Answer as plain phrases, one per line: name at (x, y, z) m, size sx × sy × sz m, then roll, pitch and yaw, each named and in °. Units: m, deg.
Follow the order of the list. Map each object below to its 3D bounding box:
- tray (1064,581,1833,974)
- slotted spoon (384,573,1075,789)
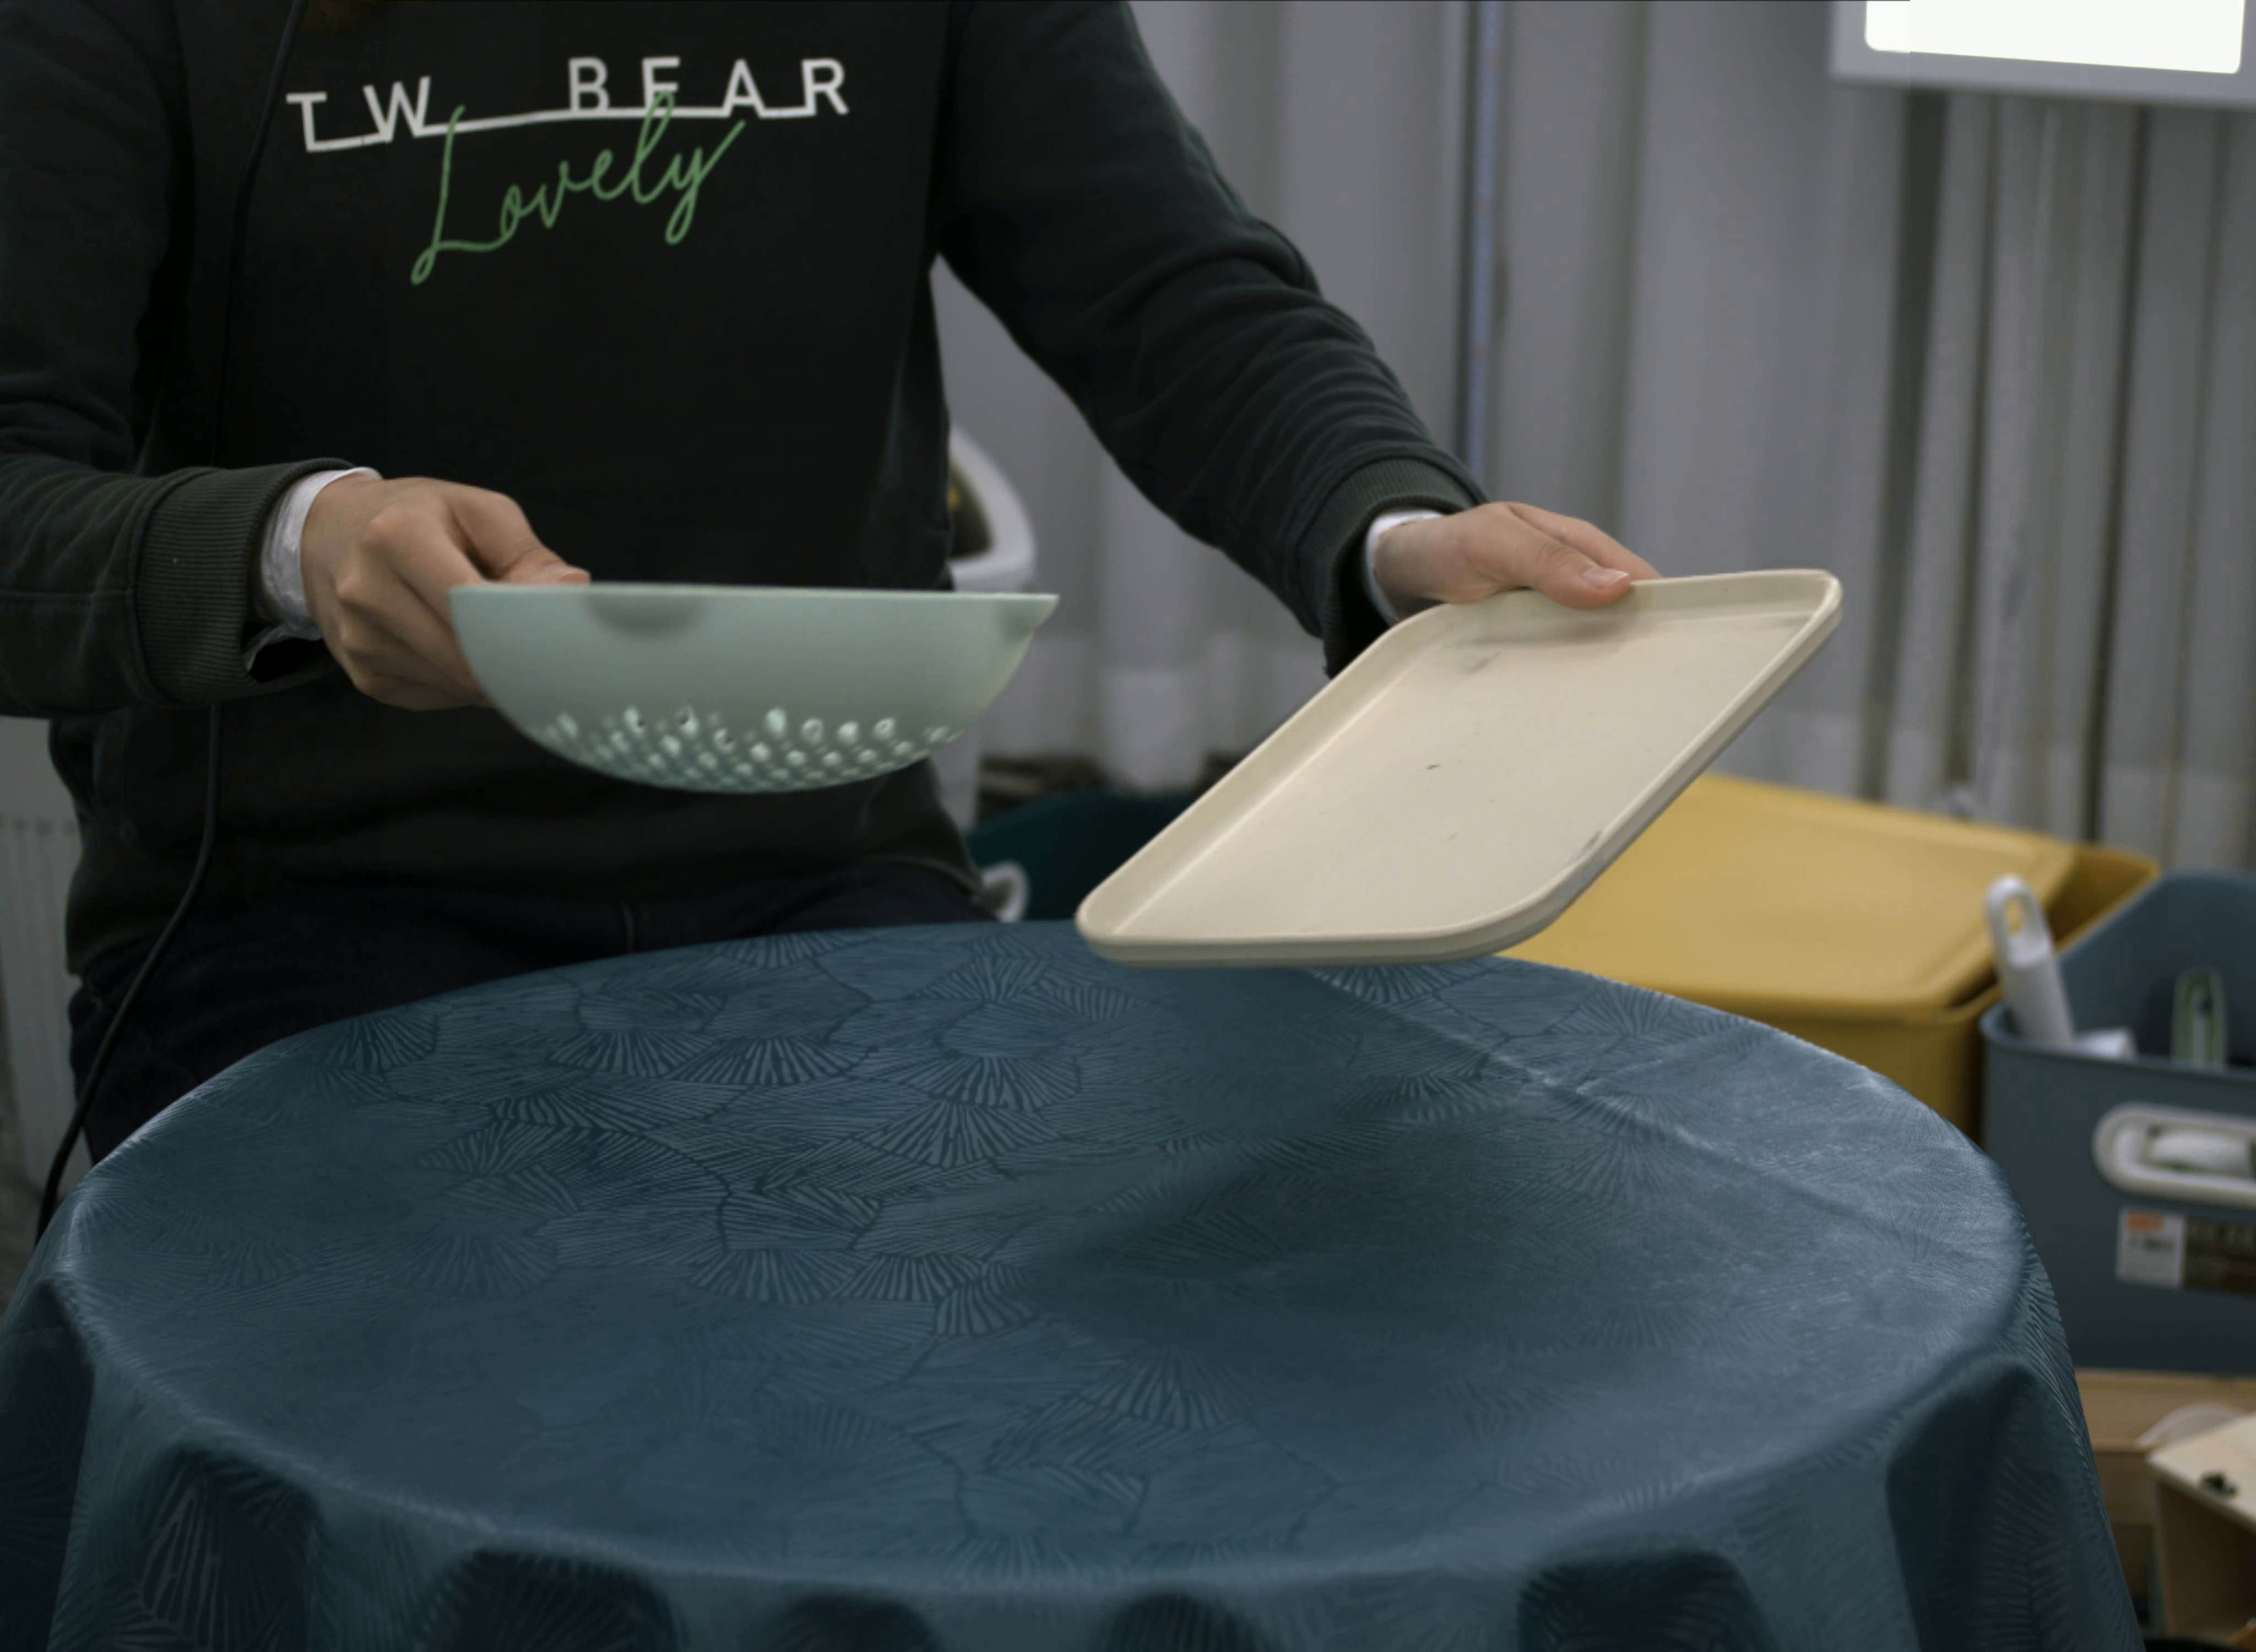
tray at (0.101, -0.014, 1.599) m, size 0.169 × 0.017 × 0.239 m, roll -2°, pitch 26°, yaw 37°
slotted spoon at (-0.153, -0.058, 1.580) m, size 0.170 × 0.076 × 0.354 m, roll 2°, pitch 8°, yaw -30°
